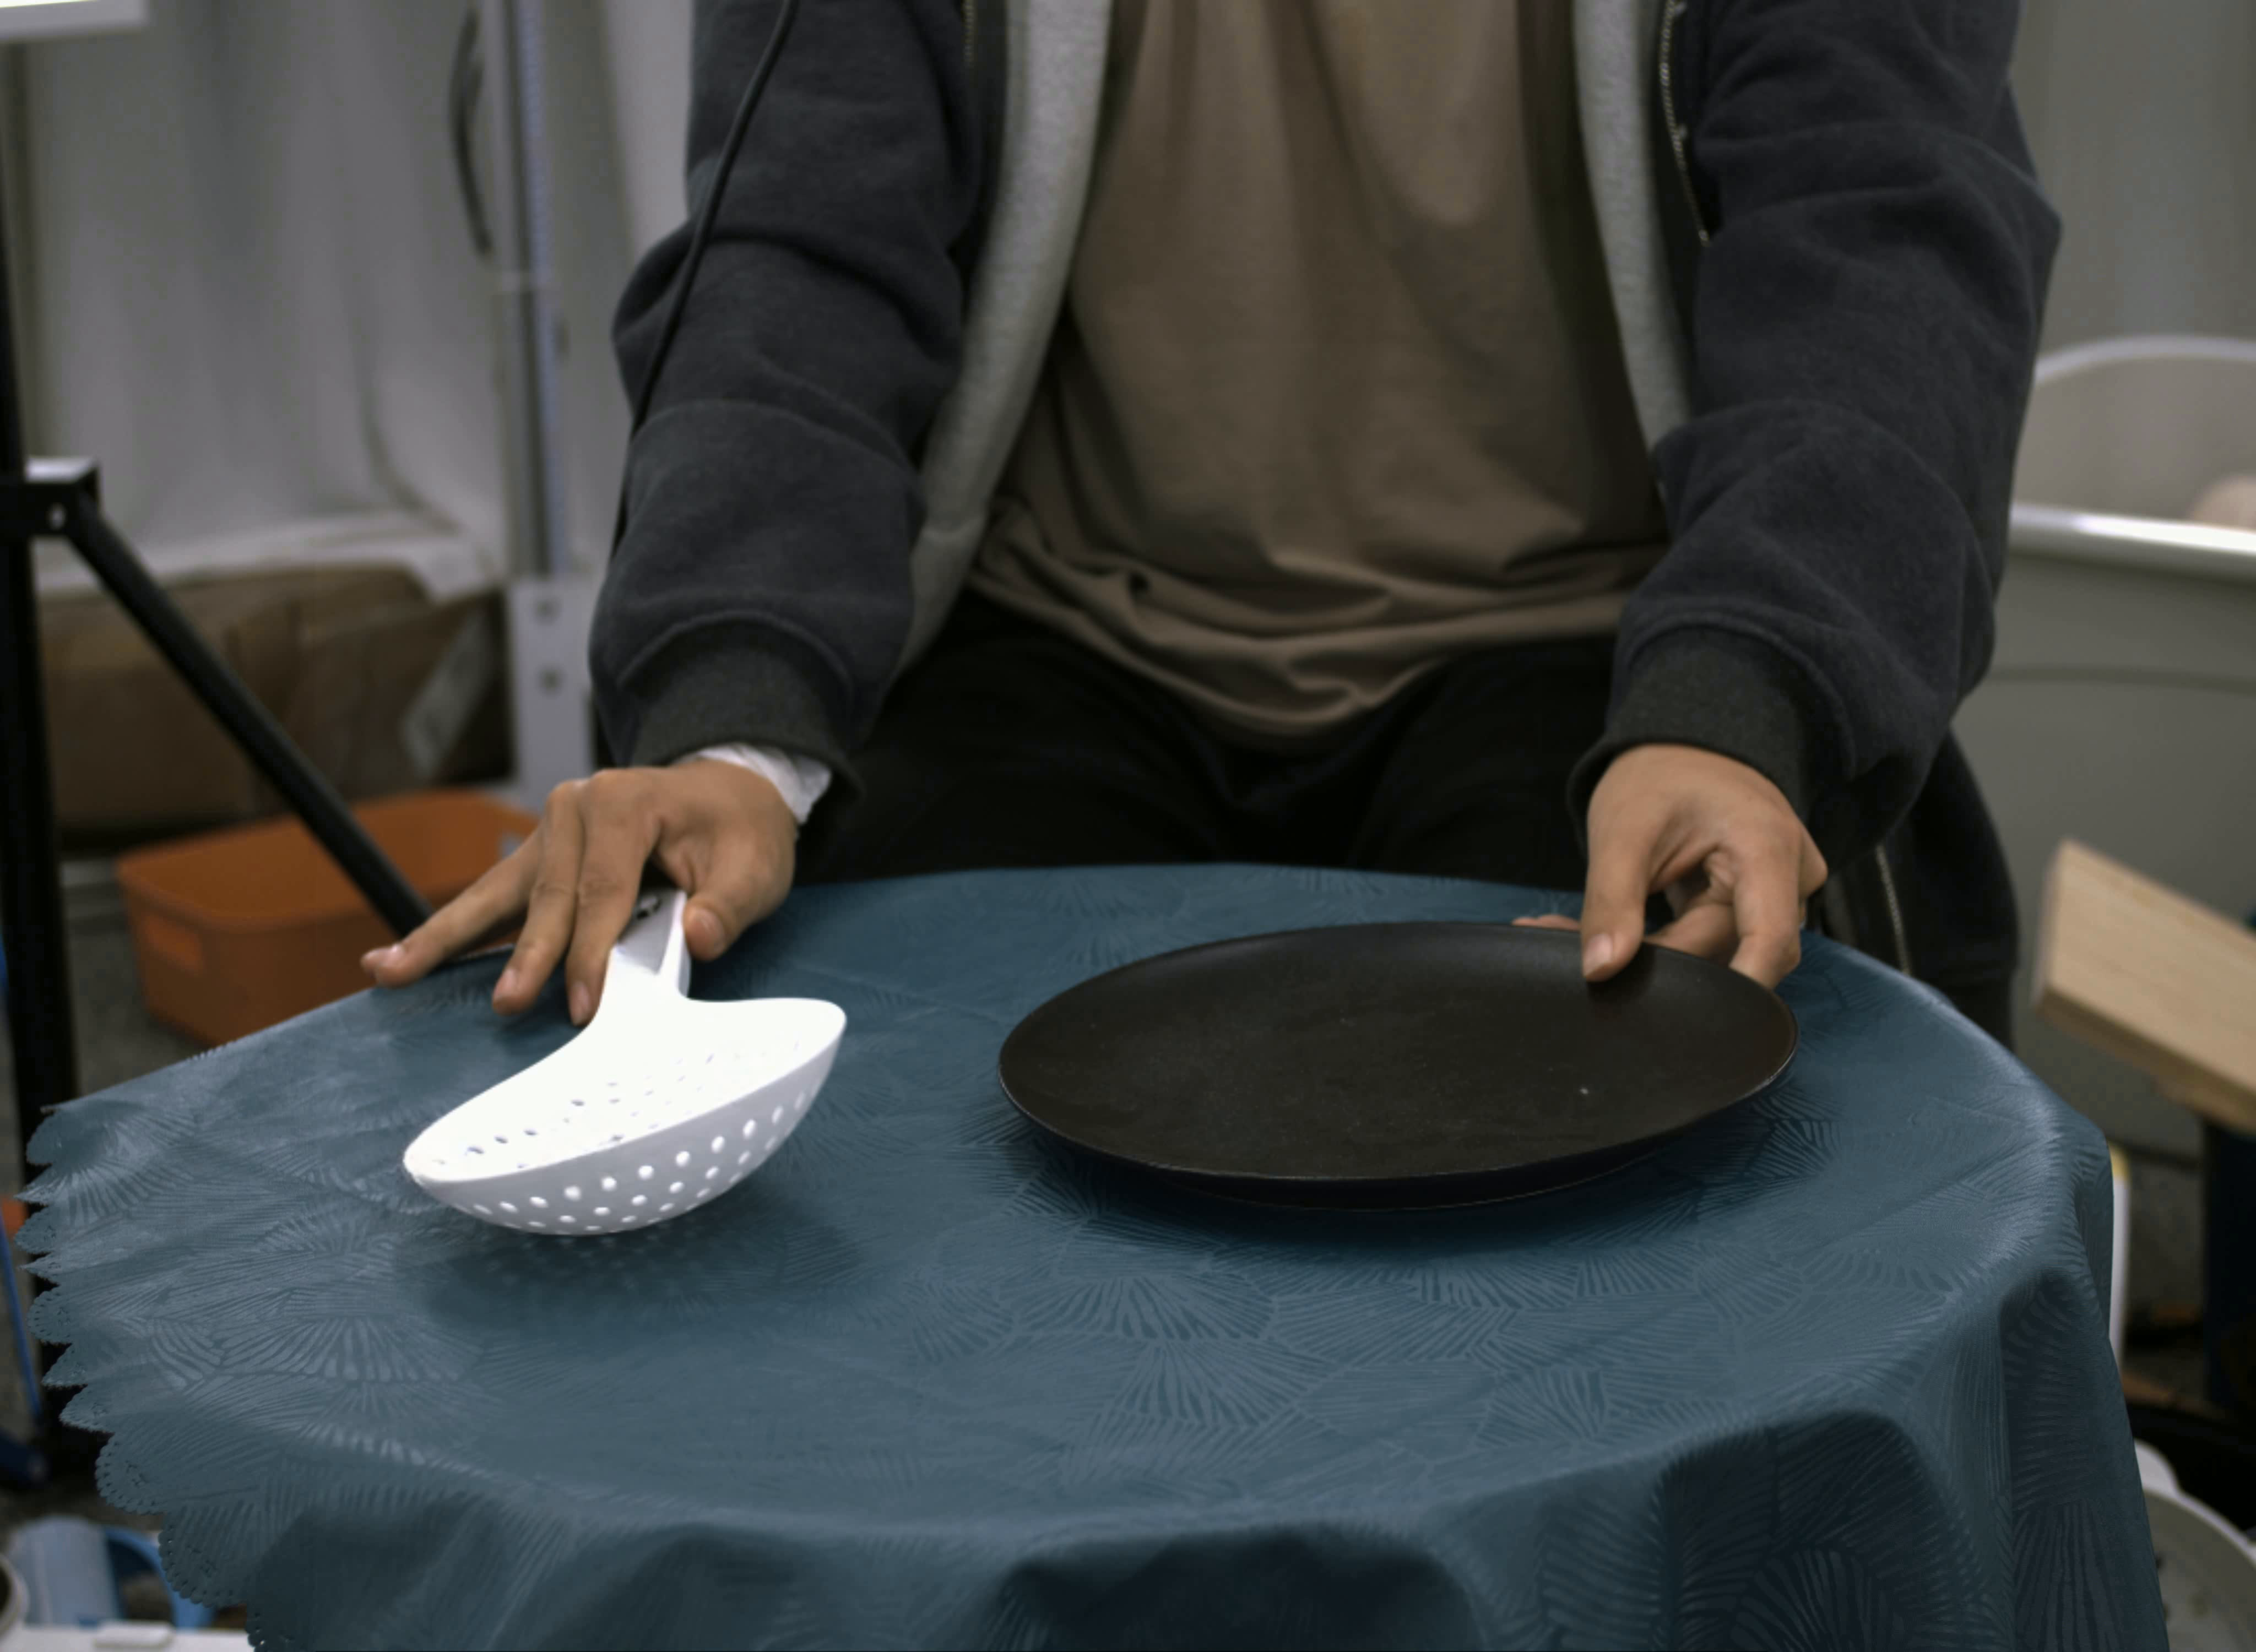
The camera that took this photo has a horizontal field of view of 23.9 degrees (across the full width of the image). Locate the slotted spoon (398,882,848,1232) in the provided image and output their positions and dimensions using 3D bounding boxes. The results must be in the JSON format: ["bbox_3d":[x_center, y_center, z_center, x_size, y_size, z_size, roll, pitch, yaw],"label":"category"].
[{"bbox_3d":[-0.152,0.062,1.655,0.135,0.045,0.352,-16,16,0],"label":"slotted spoon"}]

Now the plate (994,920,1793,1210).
[{"bbox_3d":[0.081,0.075,1.613,0.243,0.023,0.246,-4,16,0],"label":"plate"}]
